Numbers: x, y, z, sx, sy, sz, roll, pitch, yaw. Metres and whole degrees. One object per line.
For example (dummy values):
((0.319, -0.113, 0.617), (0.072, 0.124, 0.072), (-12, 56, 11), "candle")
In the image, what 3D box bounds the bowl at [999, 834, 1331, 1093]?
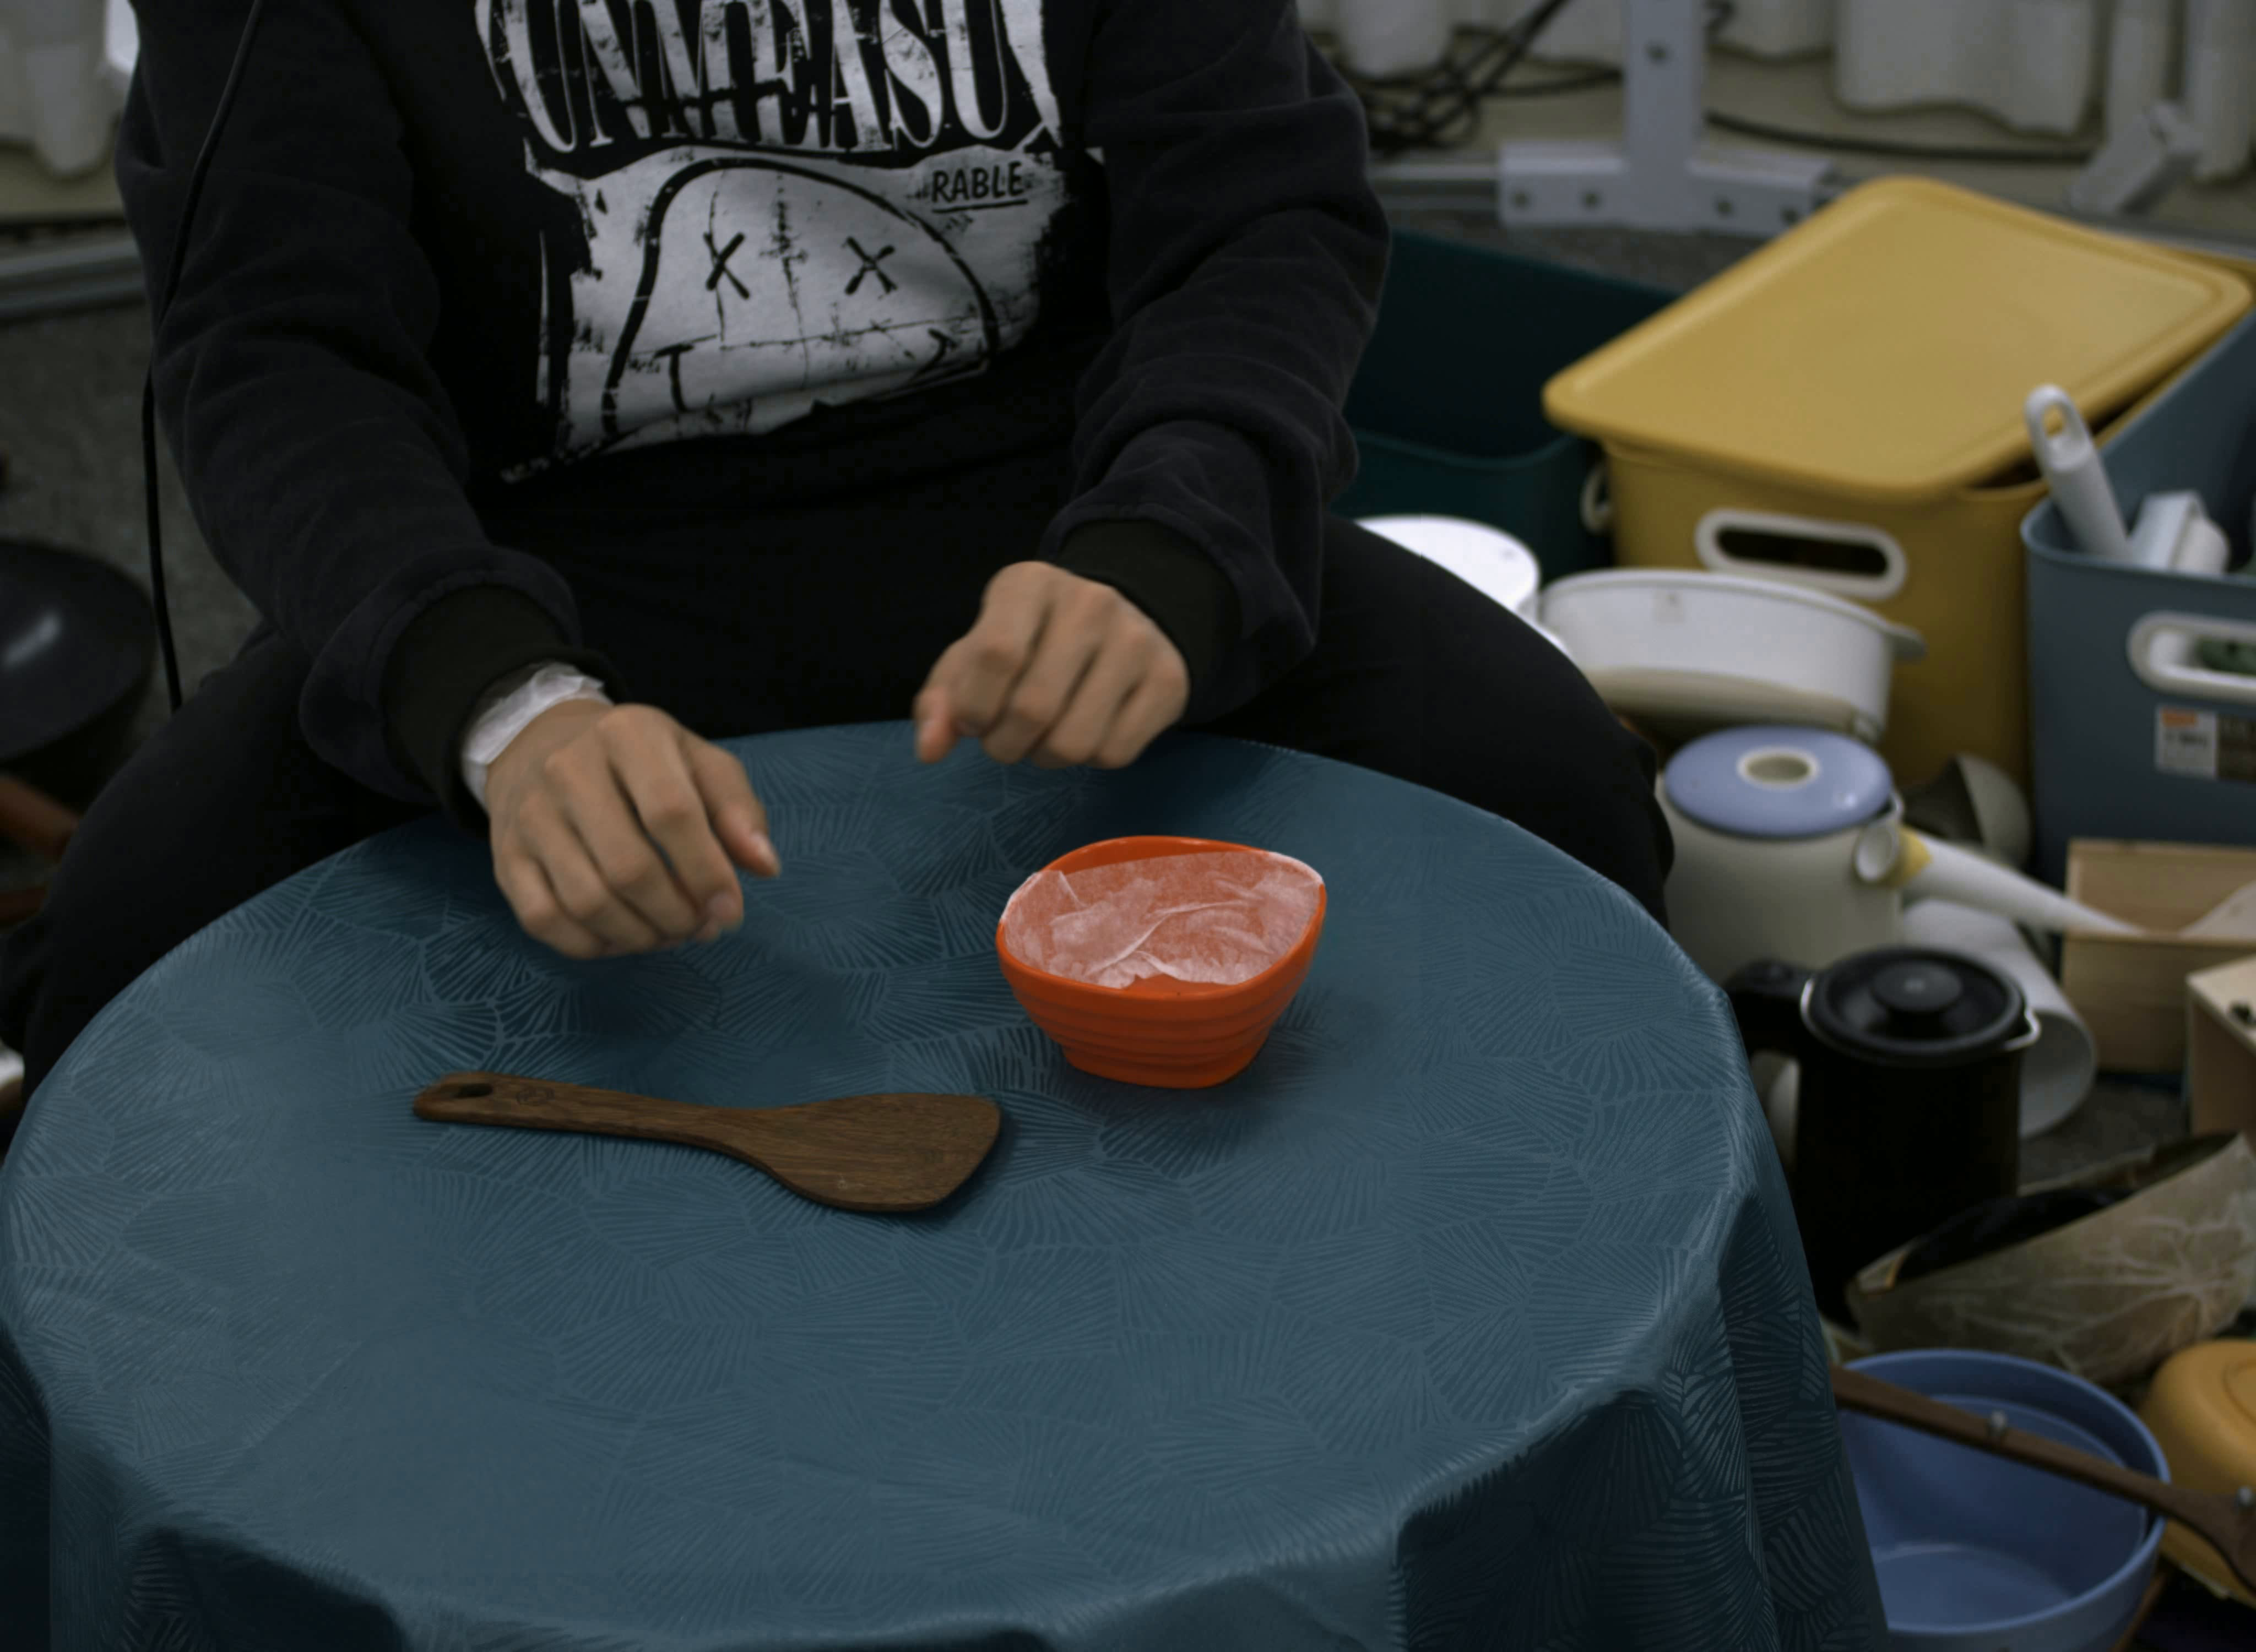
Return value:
((0.014, 0.052, 1.941), (0.118, 0.051, 0.121), (-2, 29, 2), "bowl")

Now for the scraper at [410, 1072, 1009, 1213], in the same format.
((-0.145, 0.103, 1.904), (0.210, 0.011, 0.077), (6, 28, 18), "scraper")
